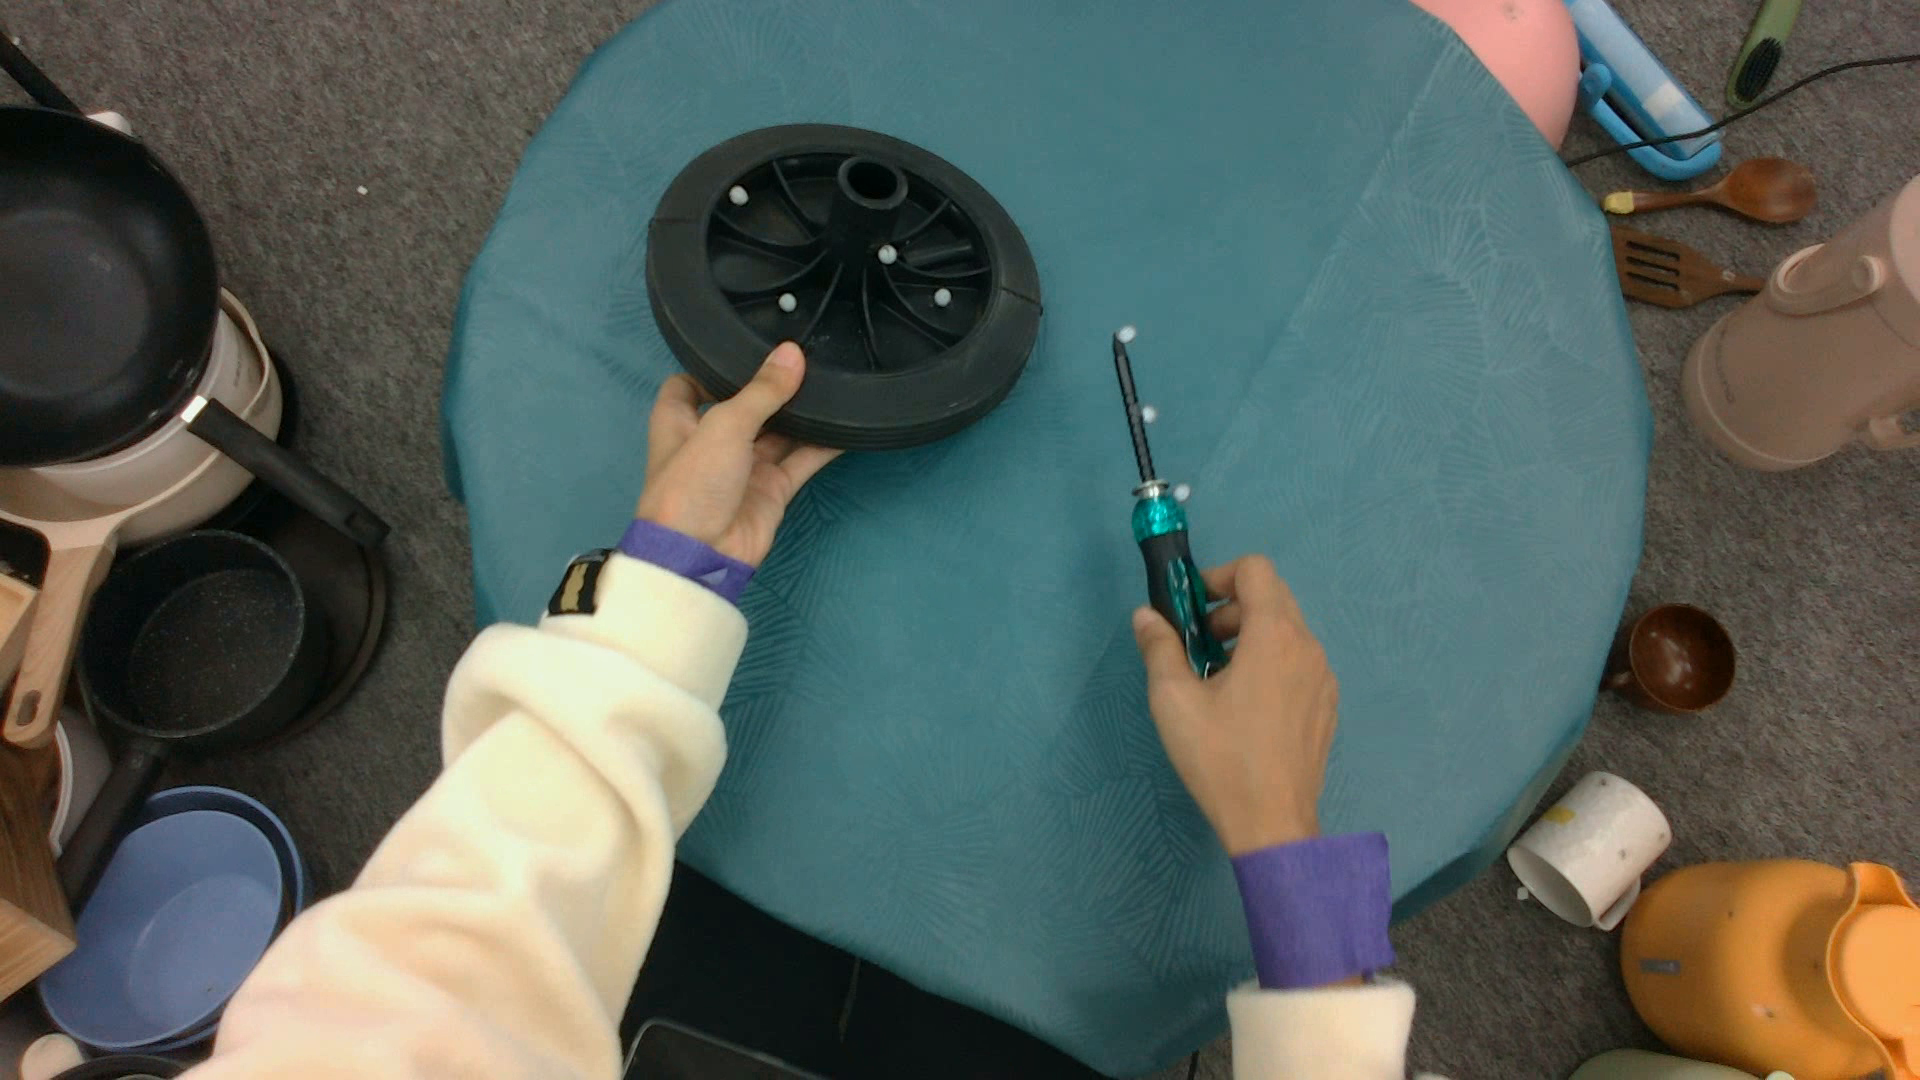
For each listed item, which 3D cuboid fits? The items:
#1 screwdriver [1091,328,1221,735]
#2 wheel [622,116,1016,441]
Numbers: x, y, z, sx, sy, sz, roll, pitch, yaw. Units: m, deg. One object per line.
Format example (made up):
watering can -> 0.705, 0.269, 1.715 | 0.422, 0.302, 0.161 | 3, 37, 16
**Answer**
screwdriver -> 0.081, -0.008, 0.616 | 0.034, 0.033, 0.190 | -11, 76, -7
wheel -> -0.058, -0.140, 0.636 | 0.187, 0.078, 0.191 | 40, 55, 9
